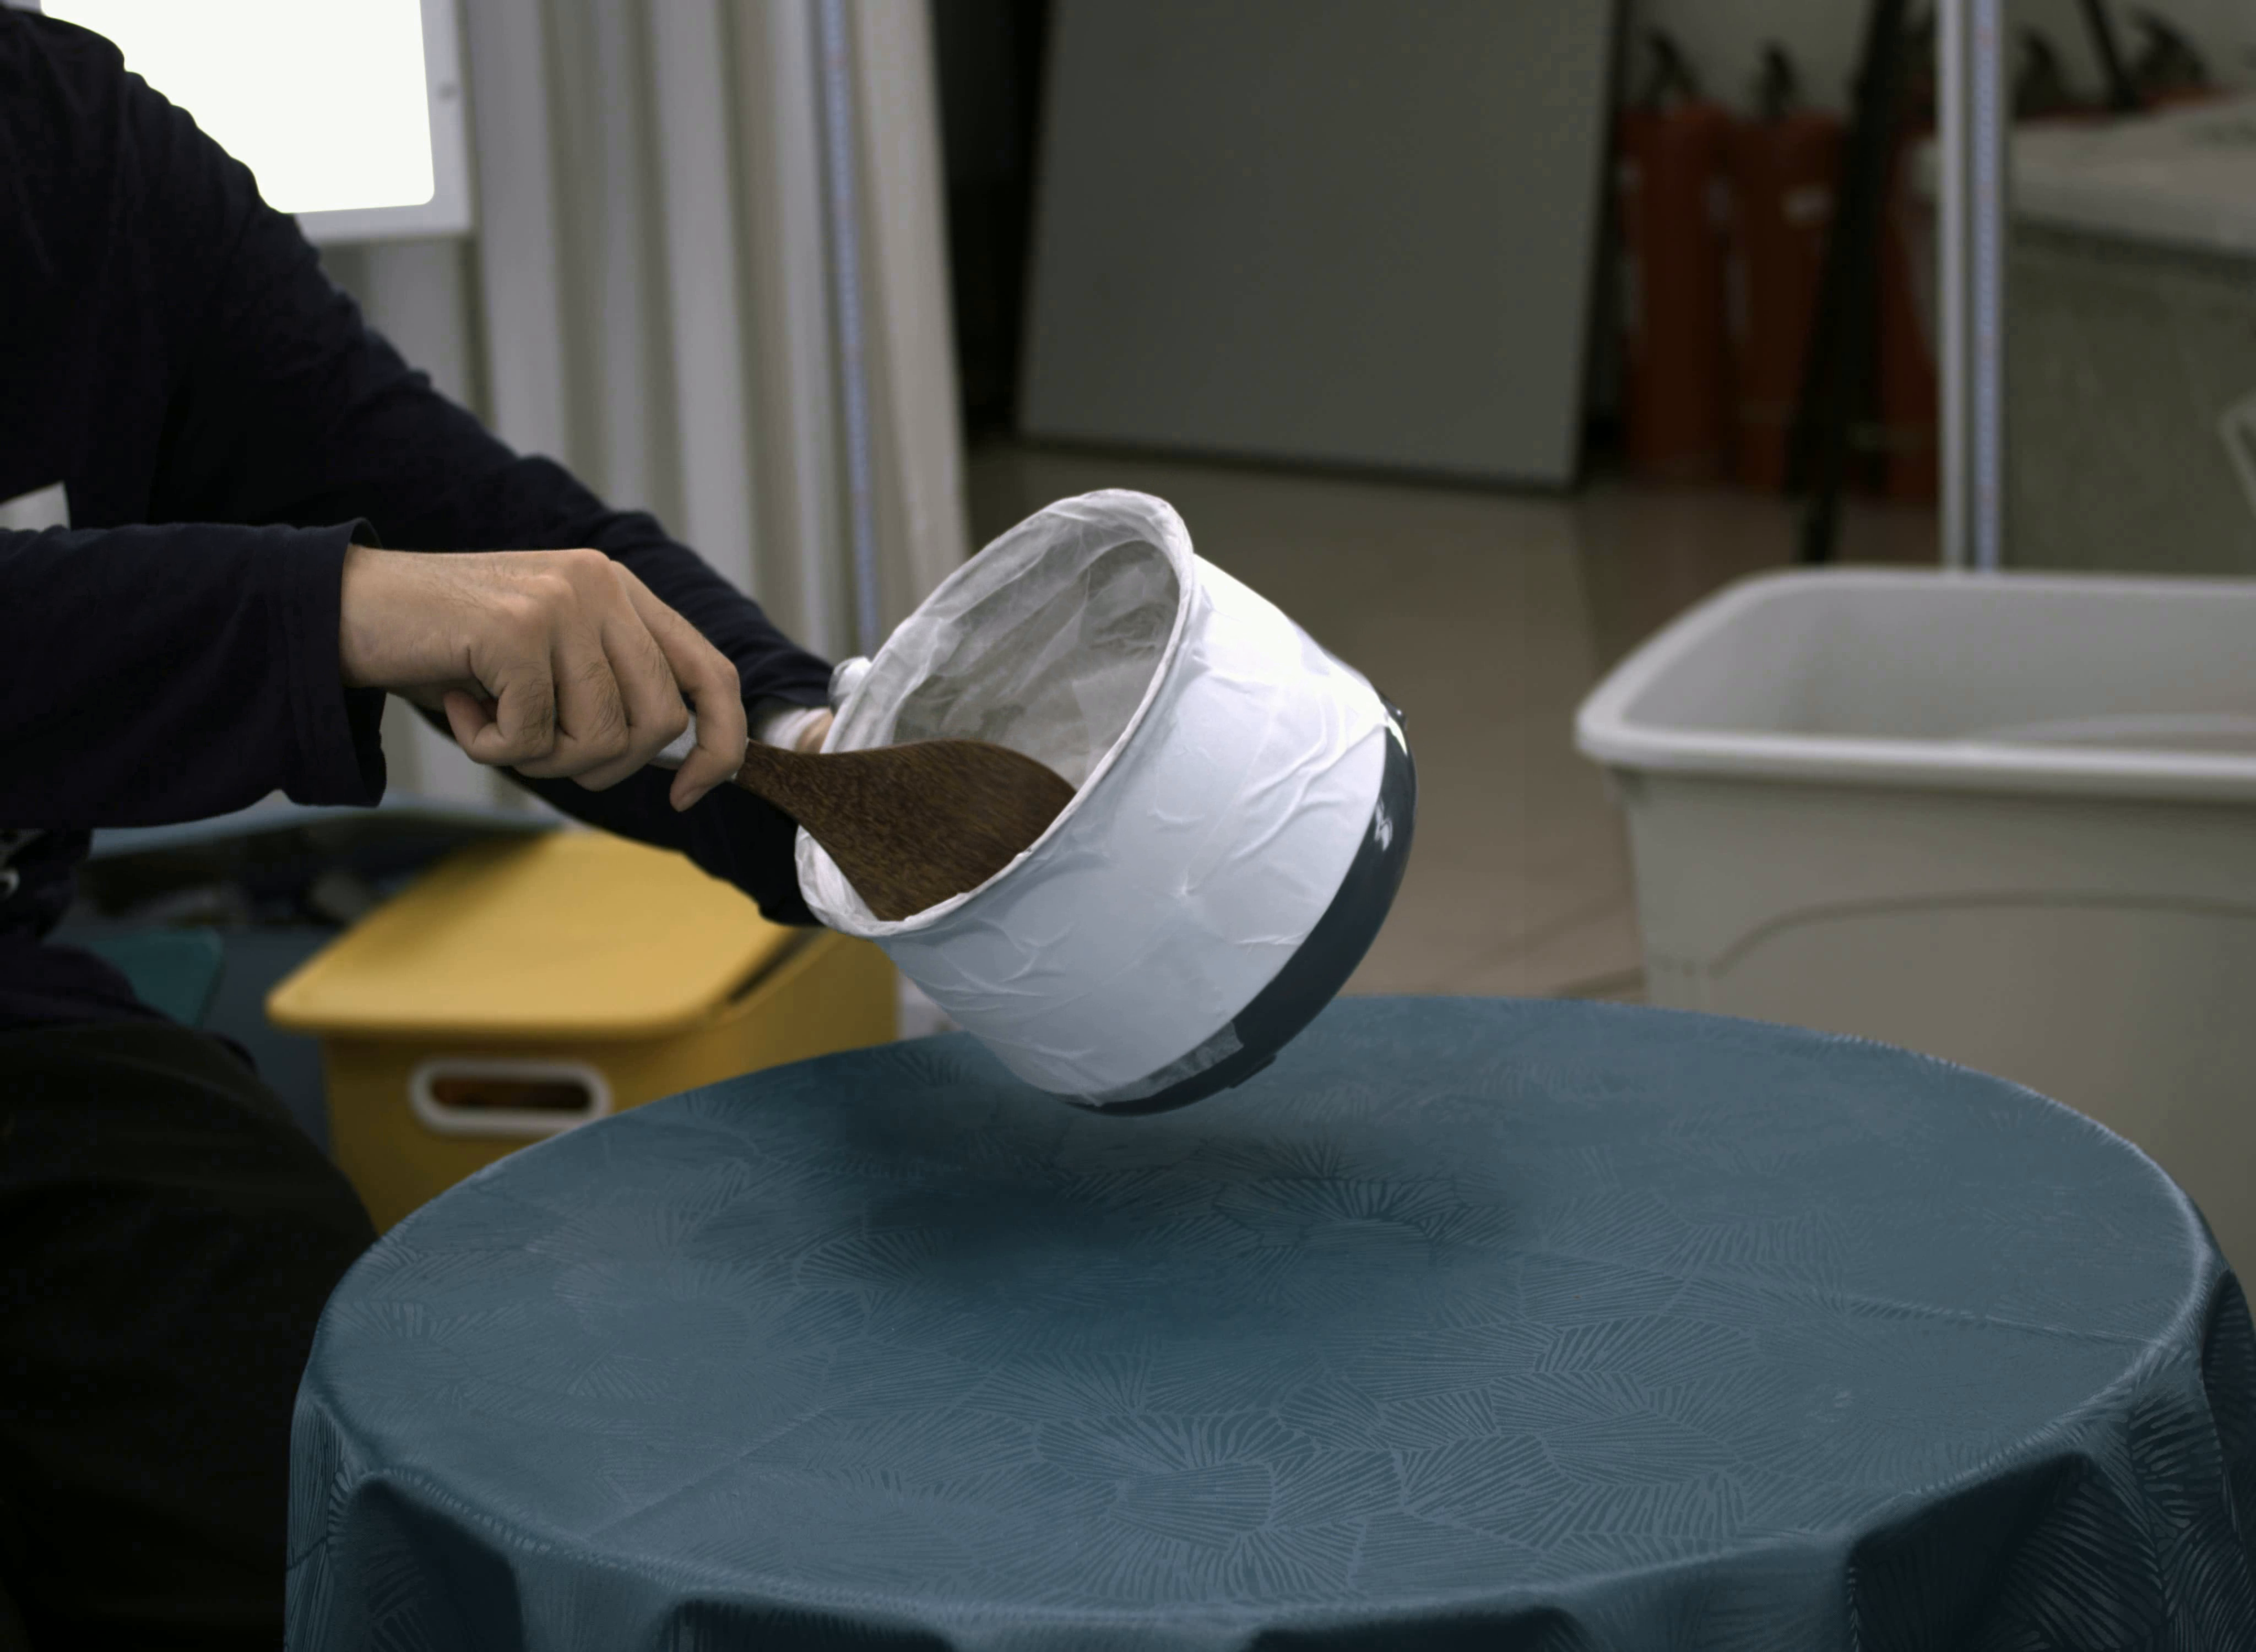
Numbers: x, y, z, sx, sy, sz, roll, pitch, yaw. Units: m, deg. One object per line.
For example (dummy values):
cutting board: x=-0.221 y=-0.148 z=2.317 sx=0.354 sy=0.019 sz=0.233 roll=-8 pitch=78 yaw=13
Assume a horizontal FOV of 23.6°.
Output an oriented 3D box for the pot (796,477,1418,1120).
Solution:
pot: x=-0.017 y=-0.007 z=1.797 sx=0.179 sy=0.135 sz=0.236 roll=-56 pitch=29 yaw=-14

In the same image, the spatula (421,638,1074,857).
spatula: x=-0.122 y=-0.029 z=1.726 sx=0.212 sy=0.072 sz=0.009 roll=12 pitch=42 yaw=-13
